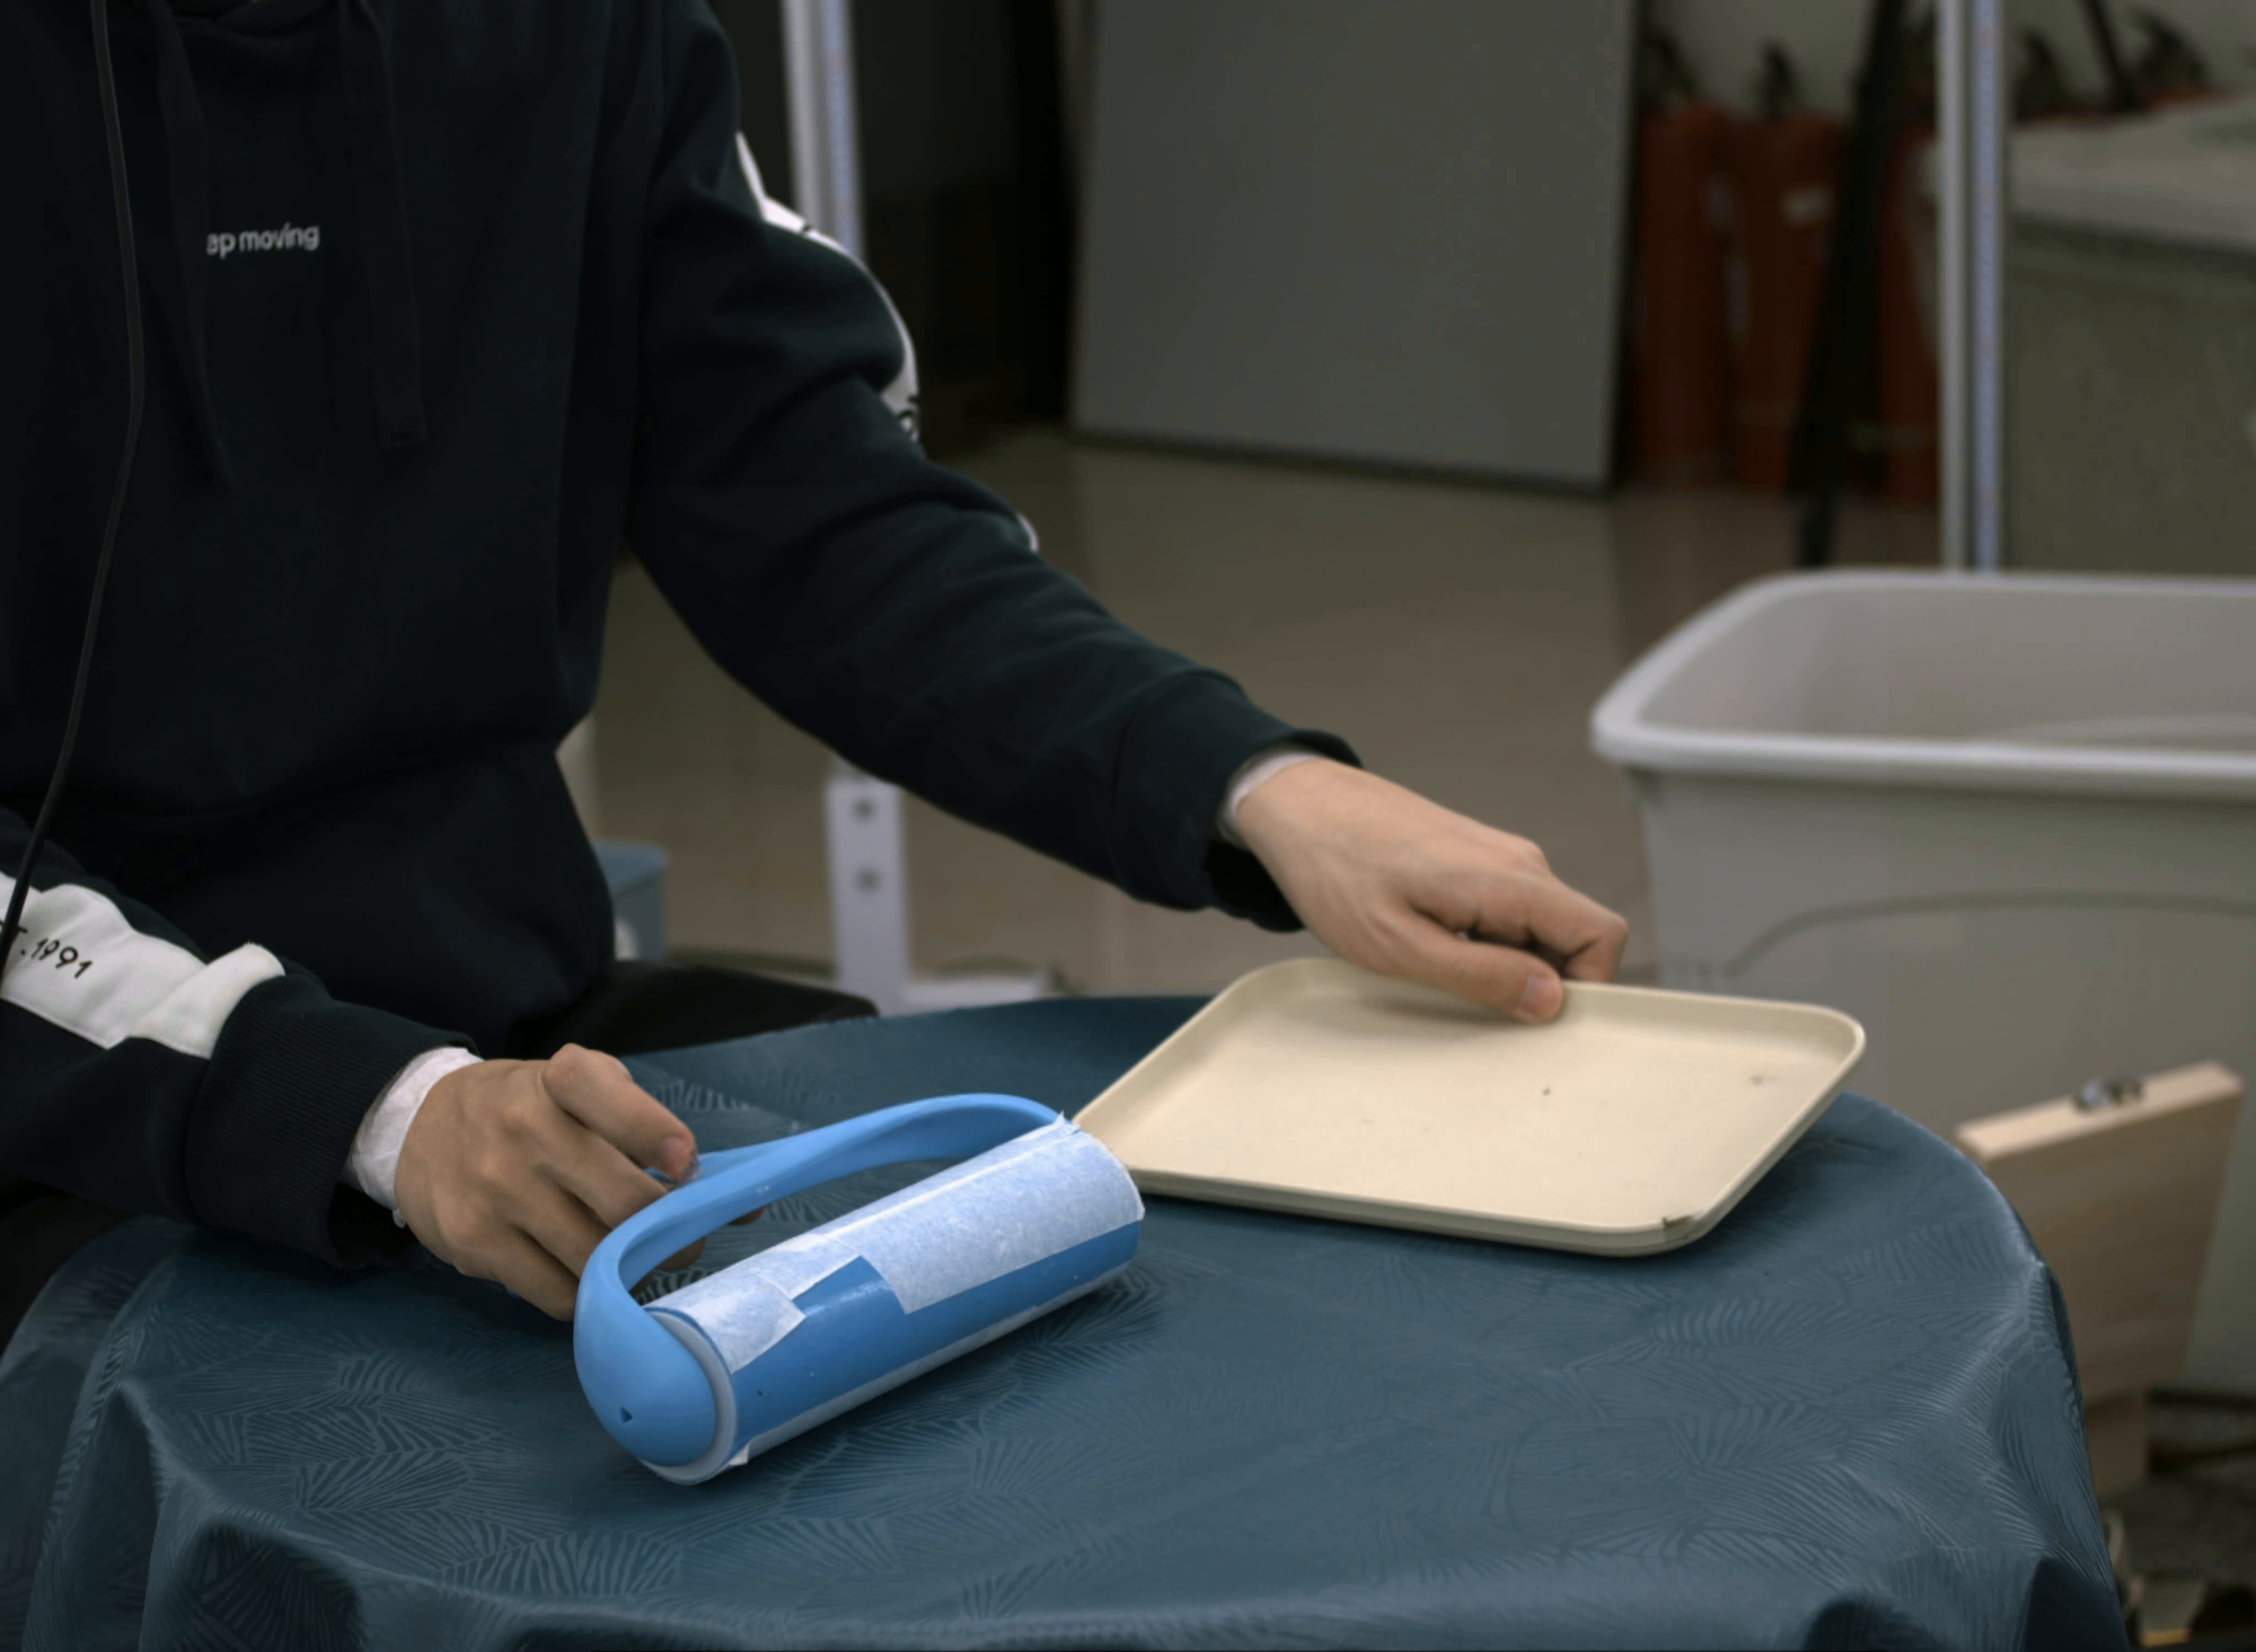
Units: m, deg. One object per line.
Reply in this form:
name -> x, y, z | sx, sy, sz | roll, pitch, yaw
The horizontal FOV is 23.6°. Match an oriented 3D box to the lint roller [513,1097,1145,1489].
lint roller -> -0.120, 0.133, 1.637 | 0.181, 0.068, 0.225 | 7, 19, 35

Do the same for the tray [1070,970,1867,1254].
tray -> 0.113, 0.094, 1.774 | 0.241, 0.017, 0.169 | 4, 23, 32
